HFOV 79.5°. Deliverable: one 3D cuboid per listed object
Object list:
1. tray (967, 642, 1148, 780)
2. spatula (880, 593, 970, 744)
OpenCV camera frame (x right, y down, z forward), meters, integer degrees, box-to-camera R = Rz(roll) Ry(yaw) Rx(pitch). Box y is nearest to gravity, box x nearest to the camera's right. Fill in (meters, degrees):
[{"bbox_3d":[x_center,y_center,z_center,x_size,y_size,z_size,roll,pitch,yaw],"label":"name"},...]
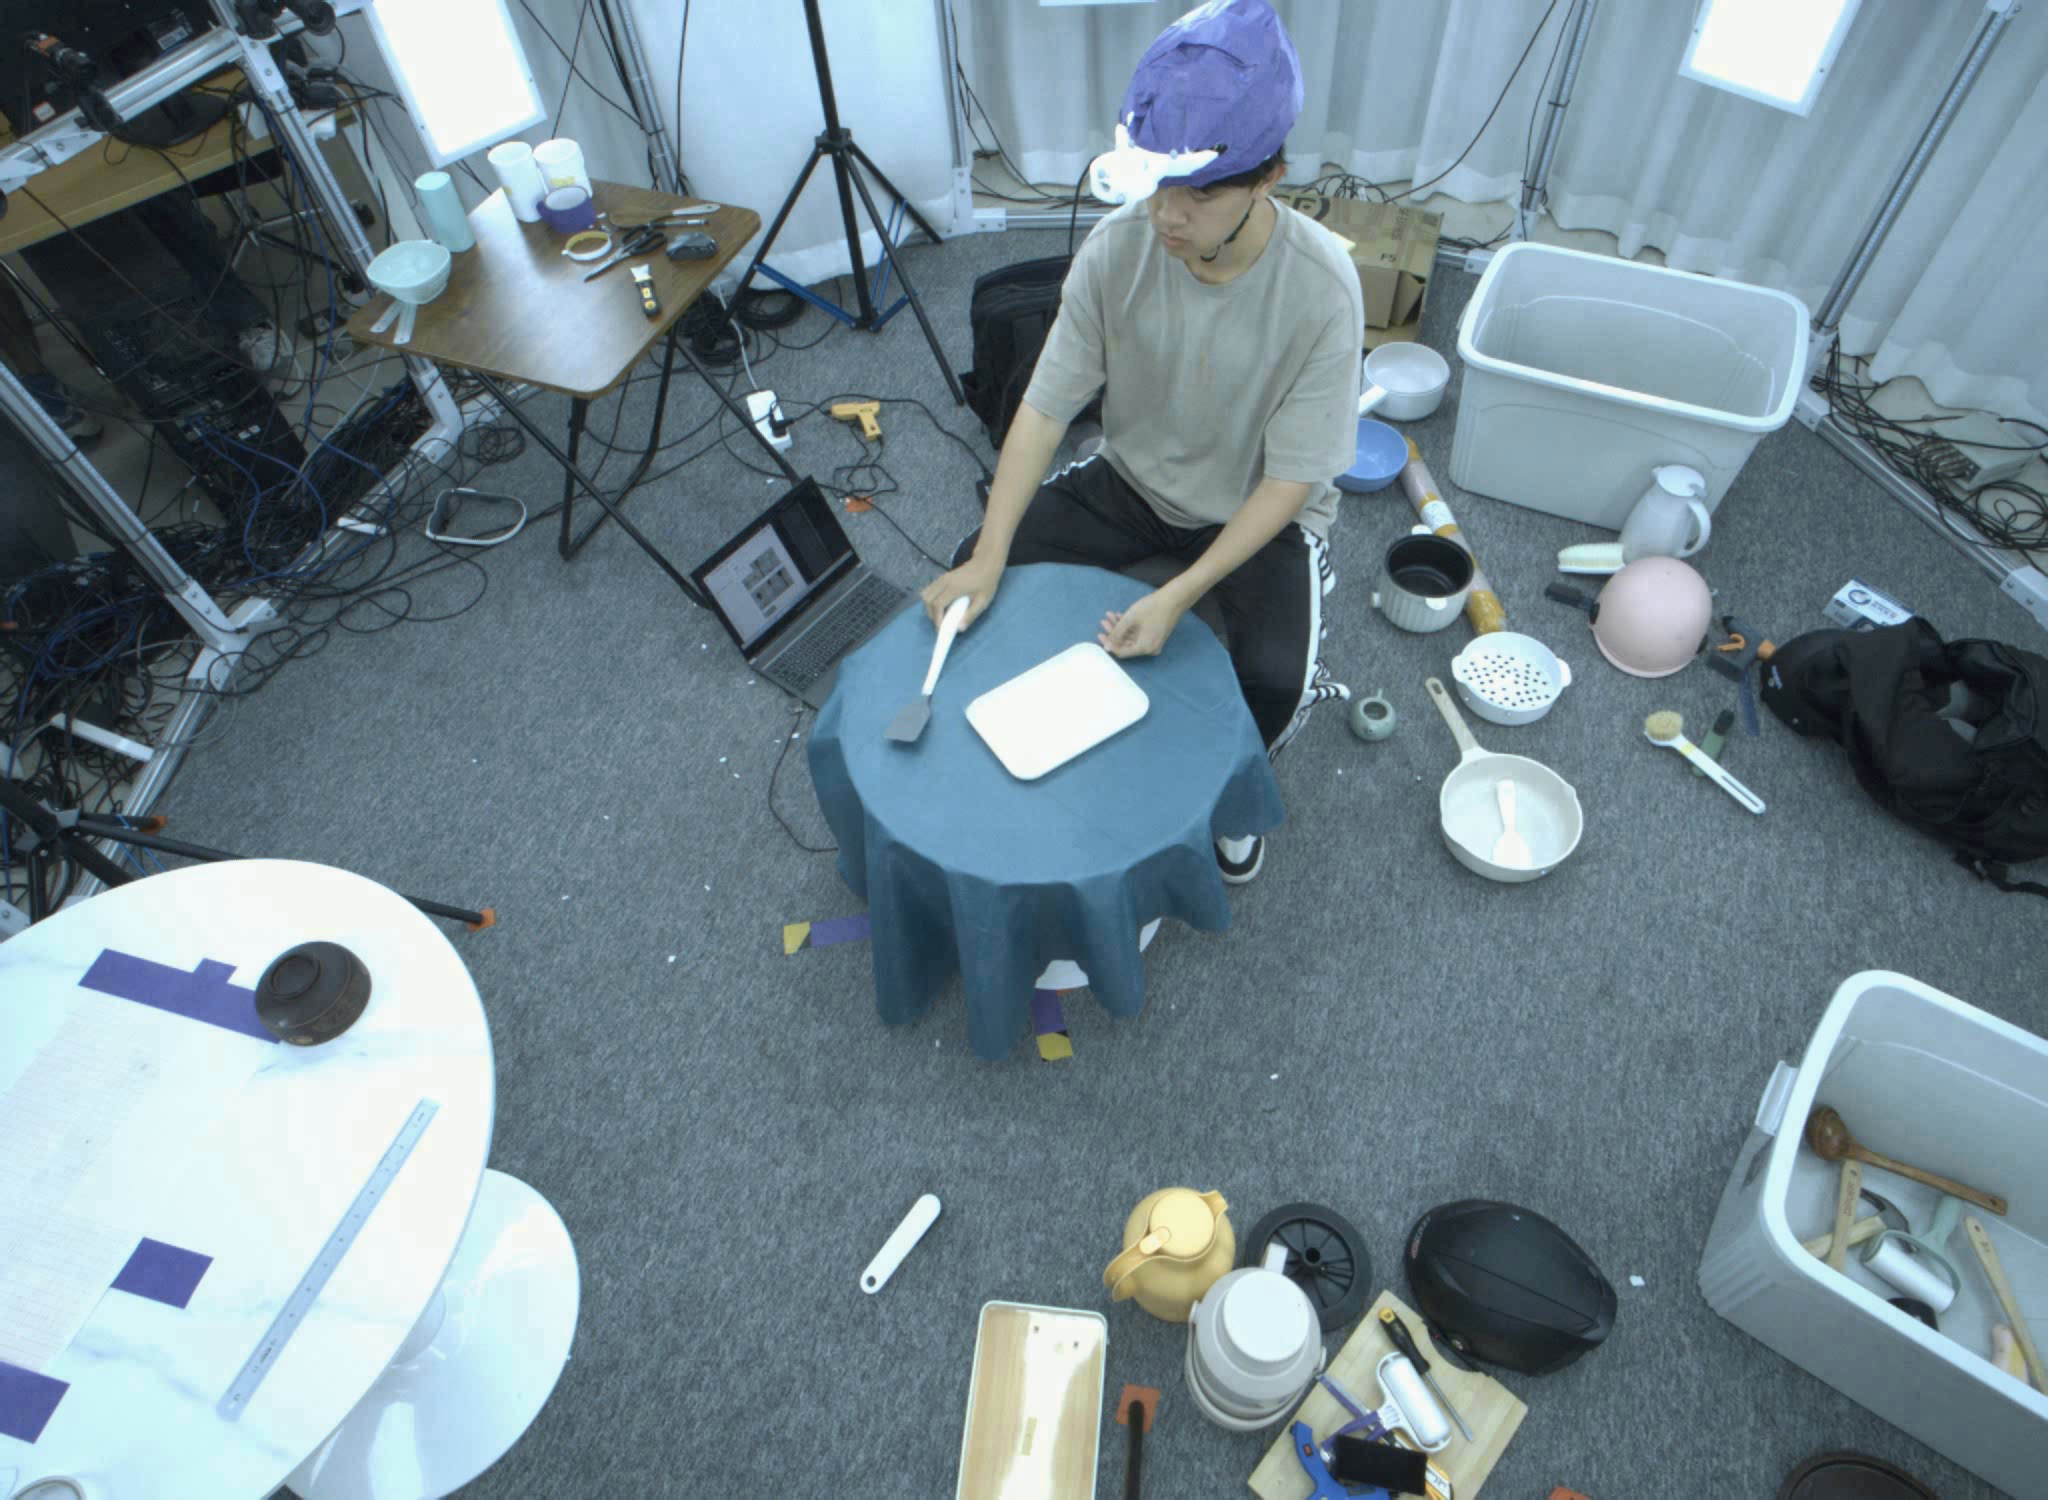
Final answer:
[{"bbox_3d":[0.049,-0.059,1.814,0.241,0.017,0.168,-29,60,-17],"label":"tray"},{"bbox_3d":[-0.142,-0.121,1.854,0.058,0.032,0.287,12,58,14],"label":"spatula"}]
